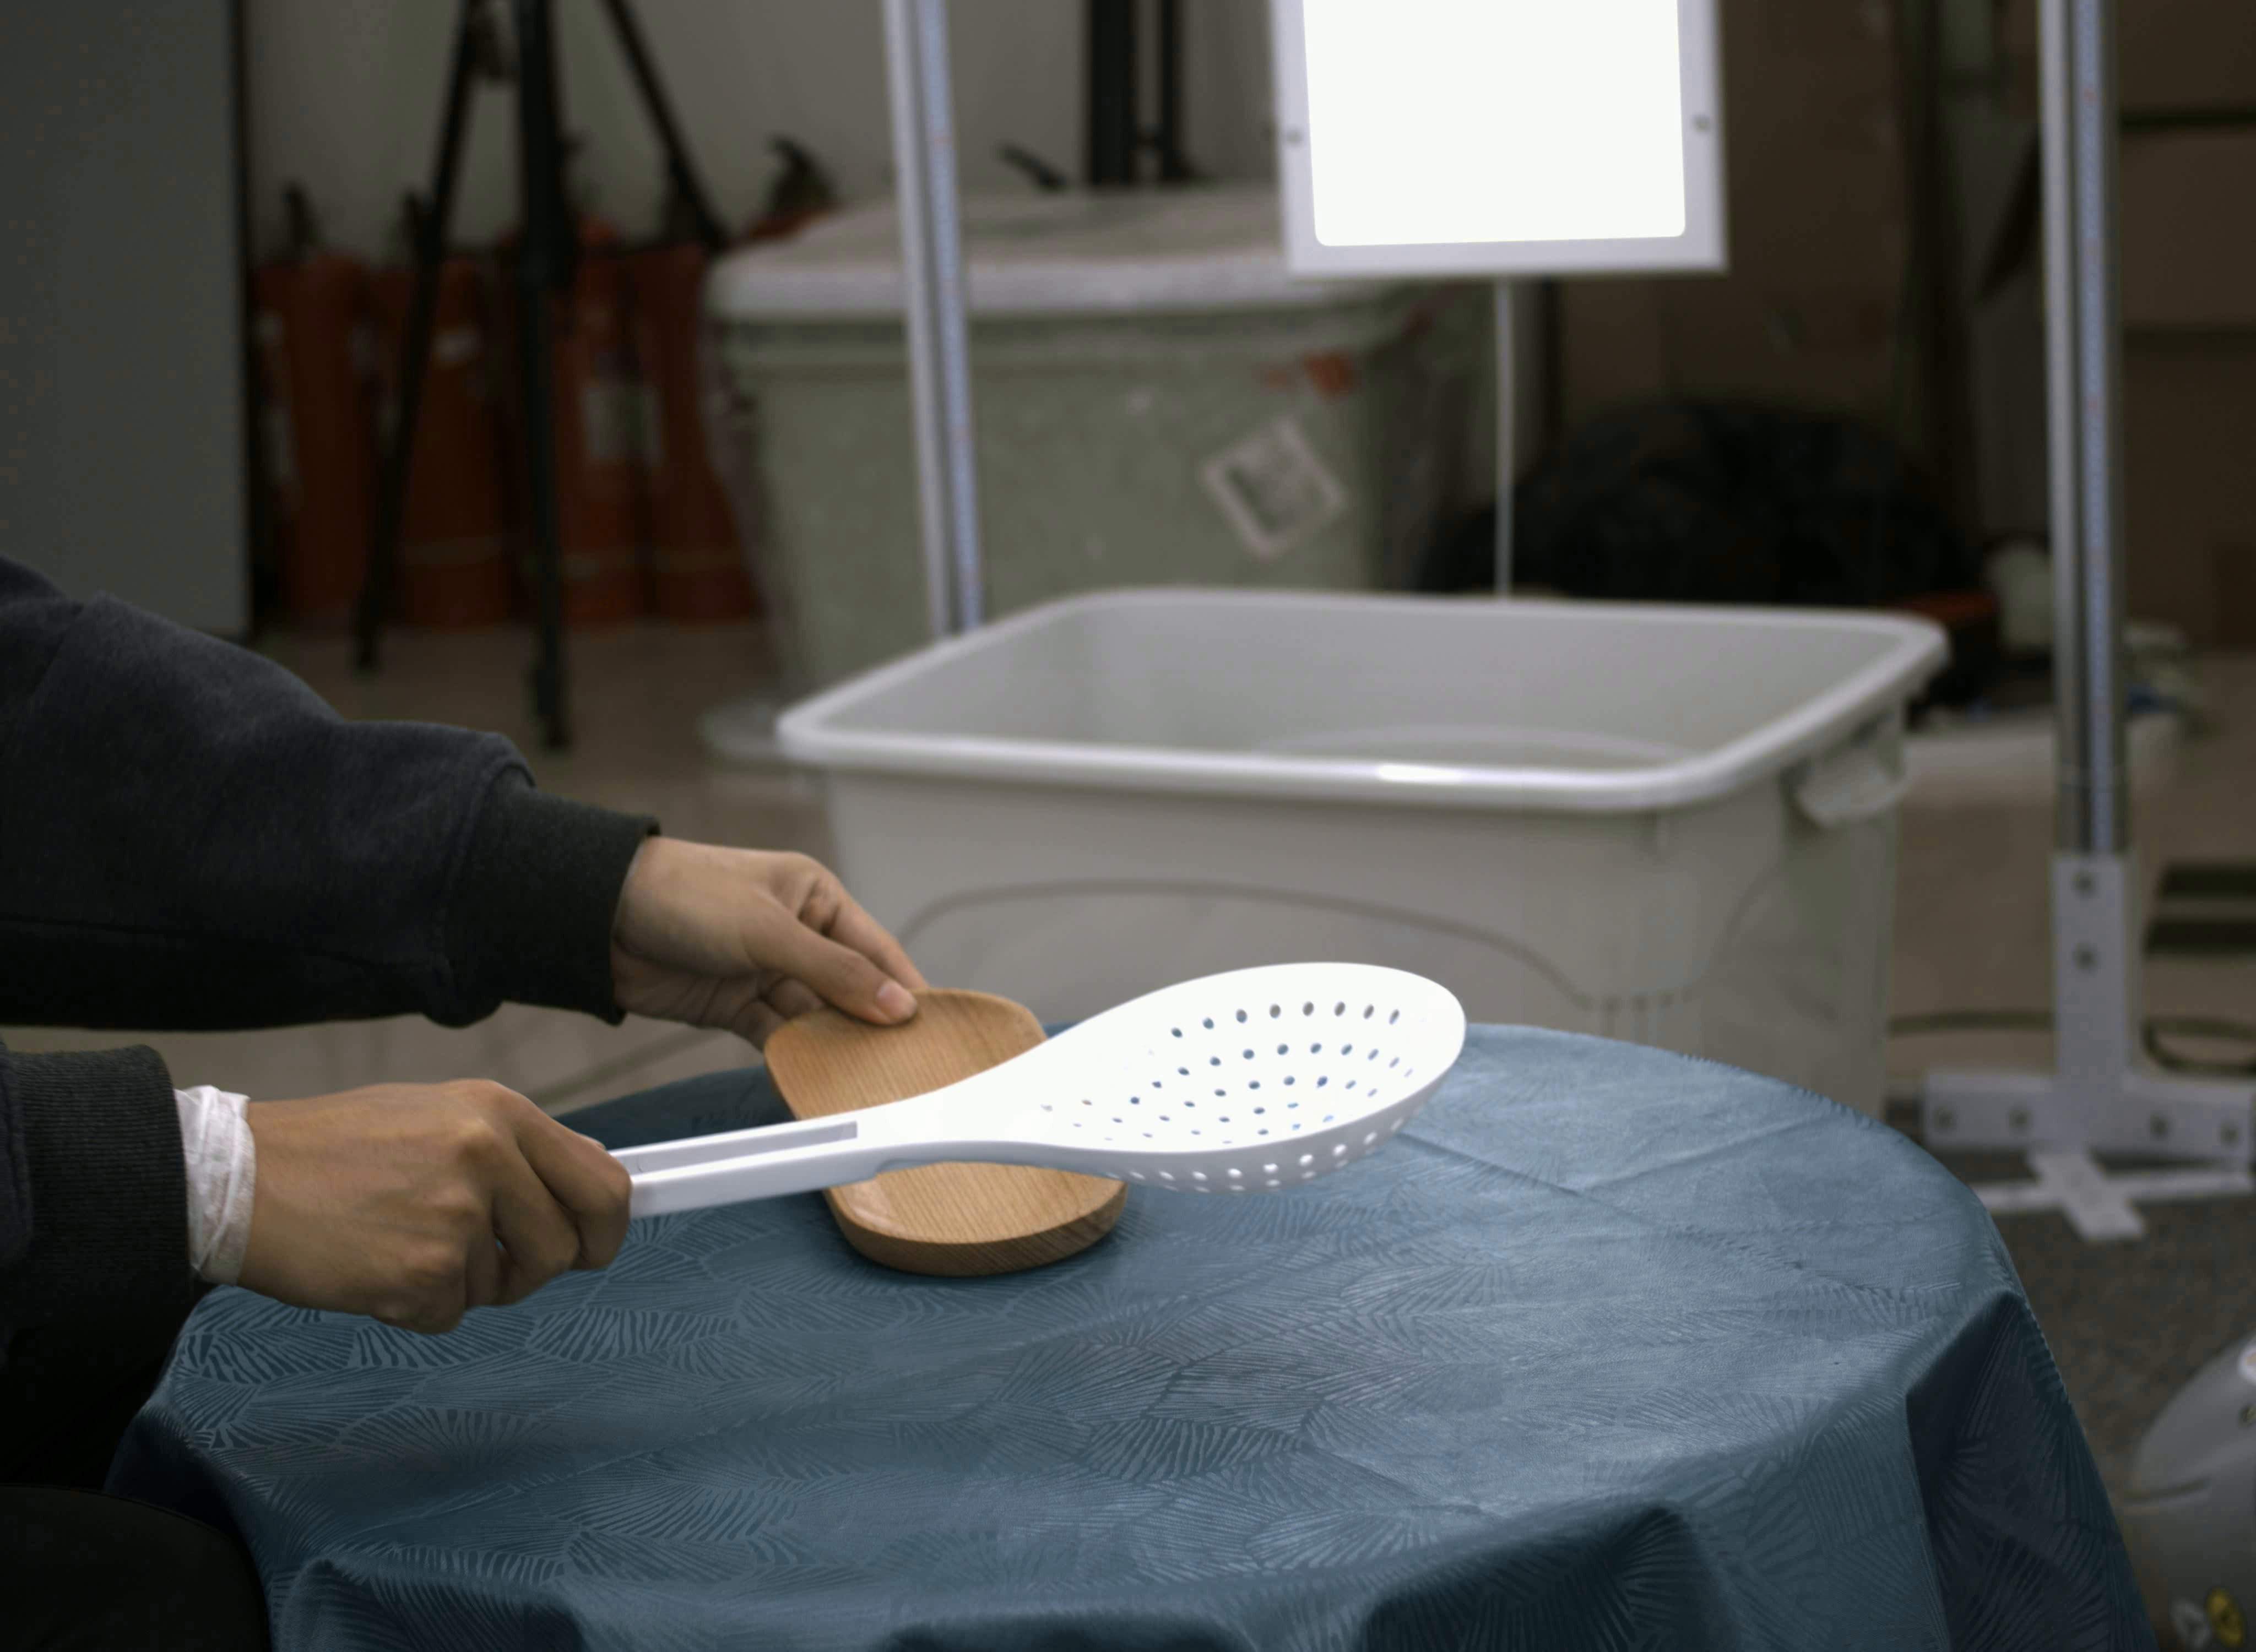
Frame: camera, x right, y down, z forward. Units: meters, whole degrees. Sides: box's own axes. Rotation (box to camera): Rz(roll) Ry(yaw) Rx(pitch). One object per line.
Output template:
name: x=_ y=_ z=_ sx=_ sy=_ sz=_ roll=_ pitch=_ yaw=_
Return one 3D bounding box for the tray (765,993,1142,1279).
tray: x=-0.063 y=0.106 z=1.921 sx=0.100 sy=0.020 sz=0.233 roll=-11 pitch=22 yaw=-12

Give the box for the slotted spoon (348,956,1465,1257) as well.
slotted spoon: x=-0.068 y=0.093 z=1.701 sx=0.349 sy=0.046 sz=0.136 roll=-6 pitch=20 yaw=1
